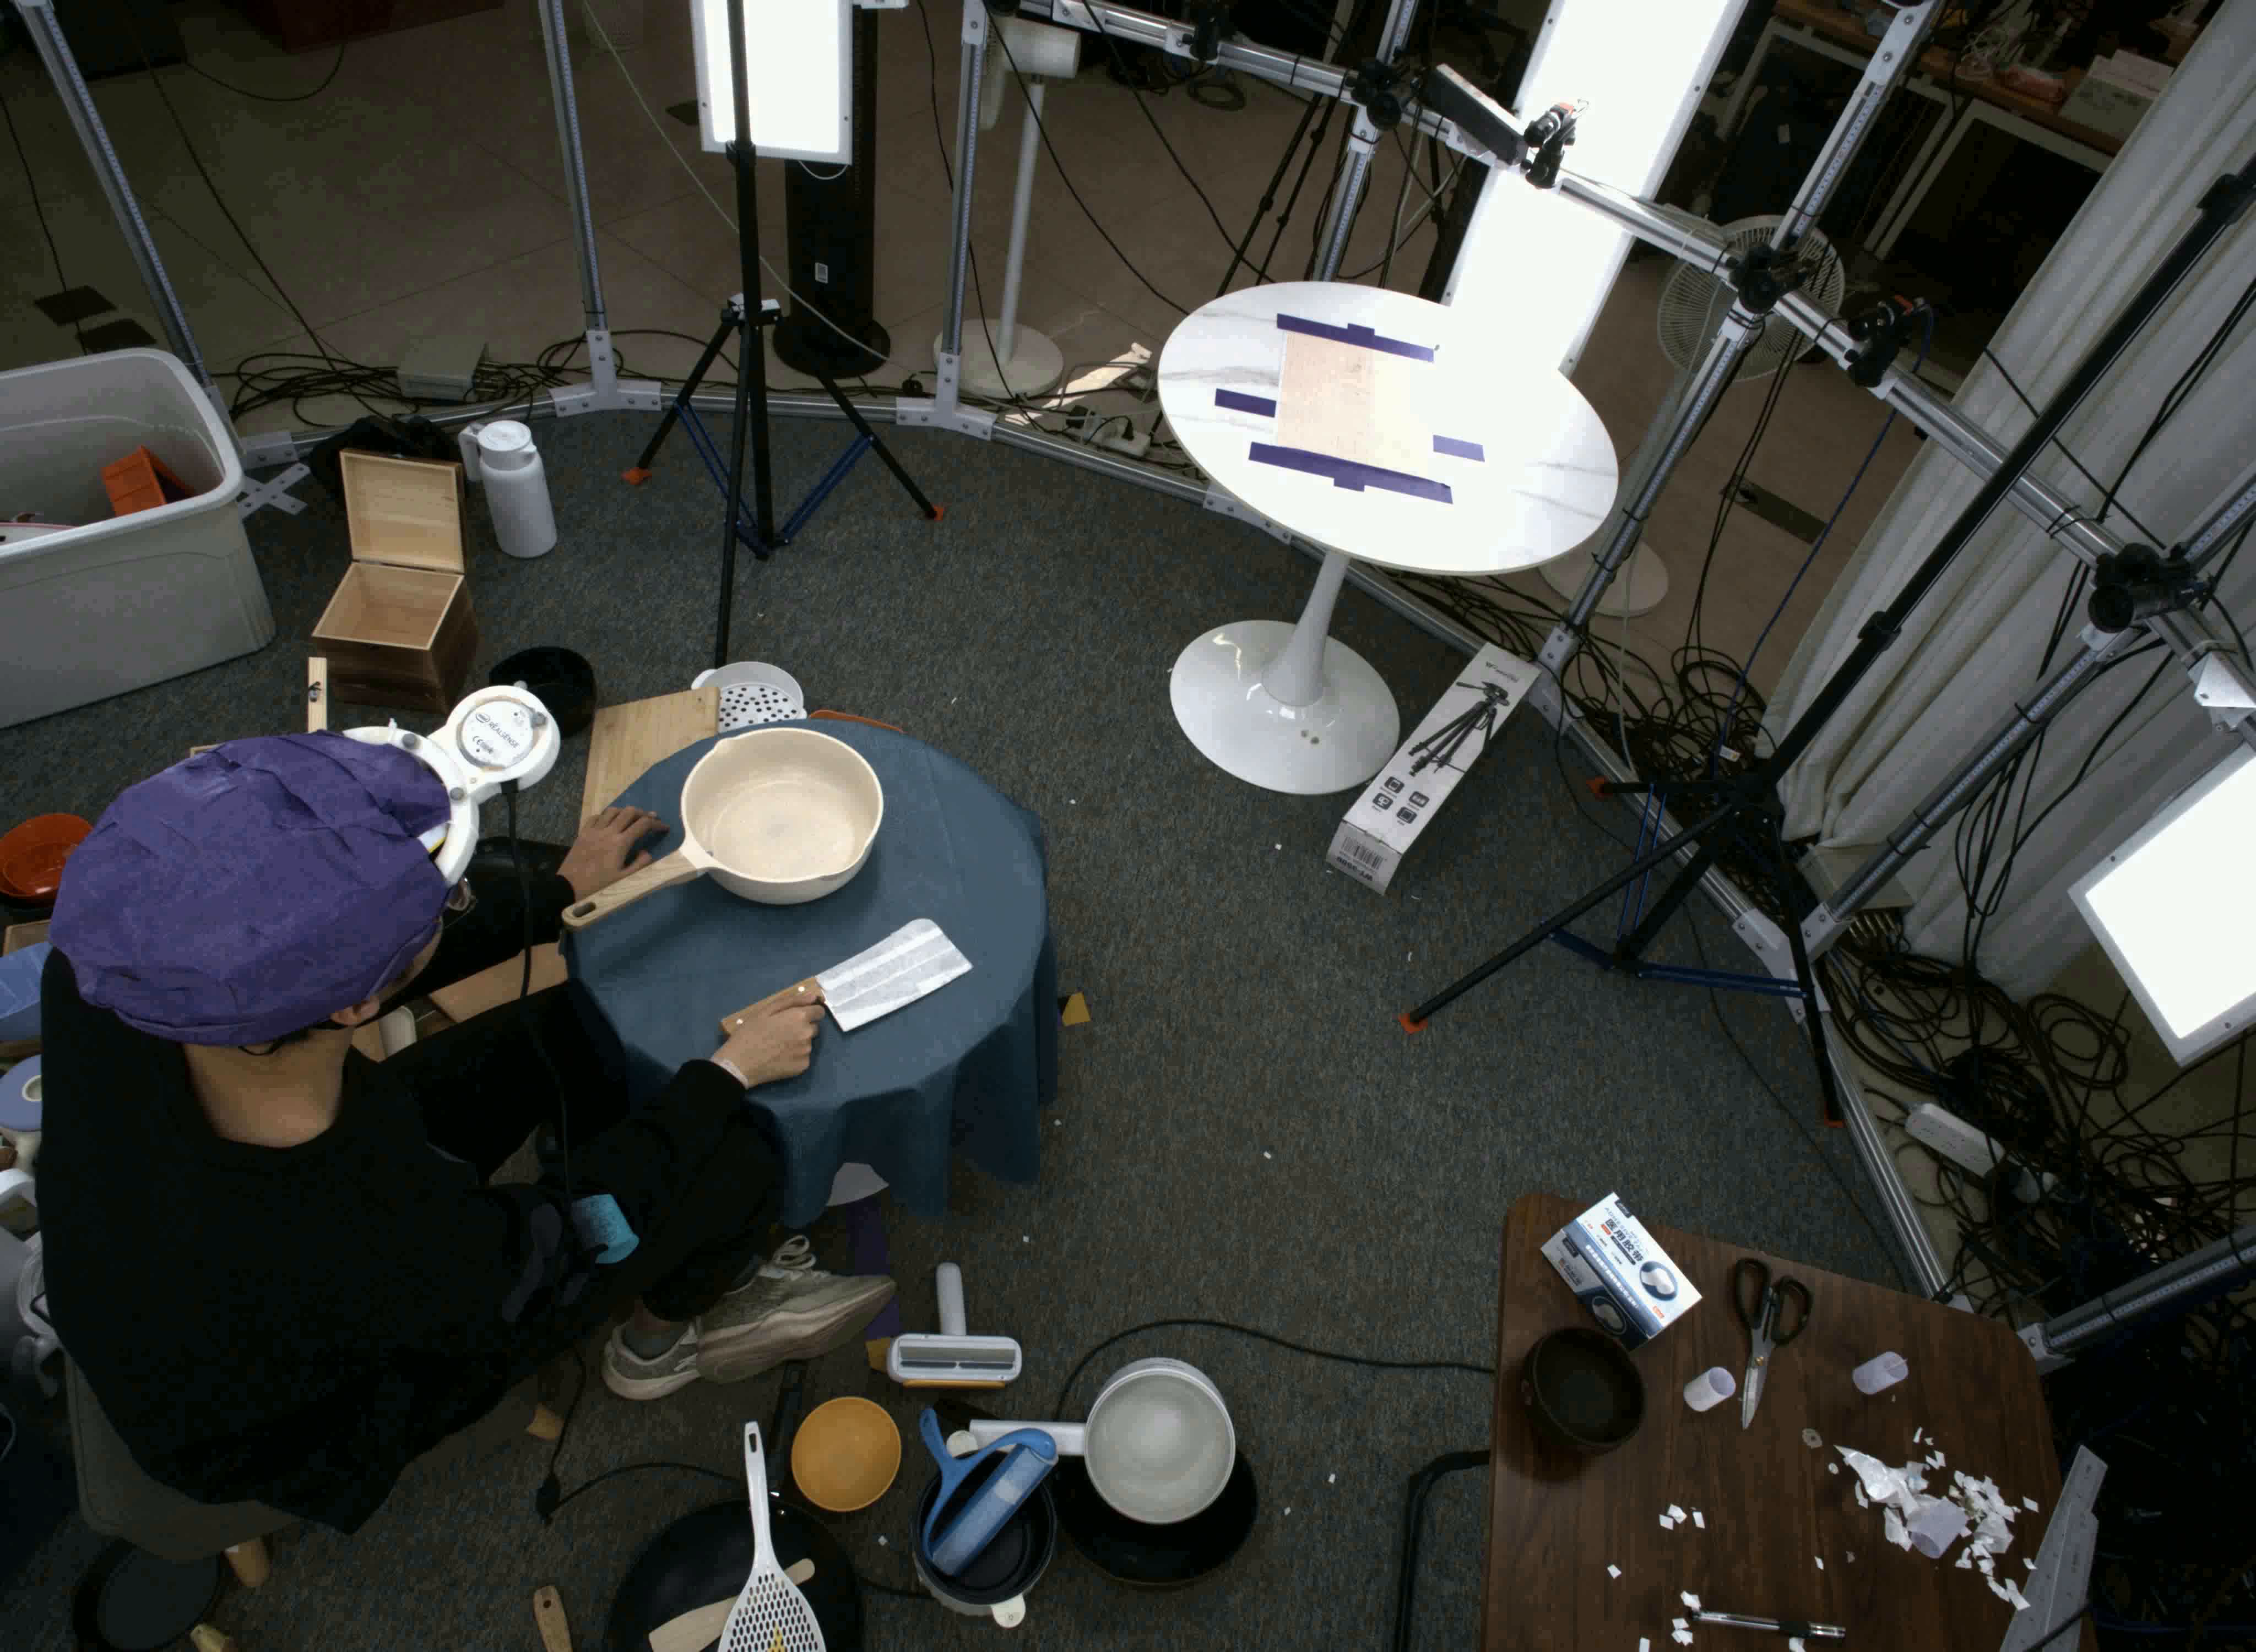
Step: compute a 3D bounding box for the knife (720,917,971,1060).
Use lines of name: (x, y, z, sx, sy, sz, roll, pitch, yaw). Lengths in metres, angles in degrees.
knife: (-0.344, 0.197, 1.576, 0.317, 0.022, 0.111, -23, 63, -31)

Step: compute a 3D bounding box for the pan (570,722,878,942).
pan: (-0.507, 0.032, 1.604, 0.258, 0.104, 0.435, 41, 54, 14)
